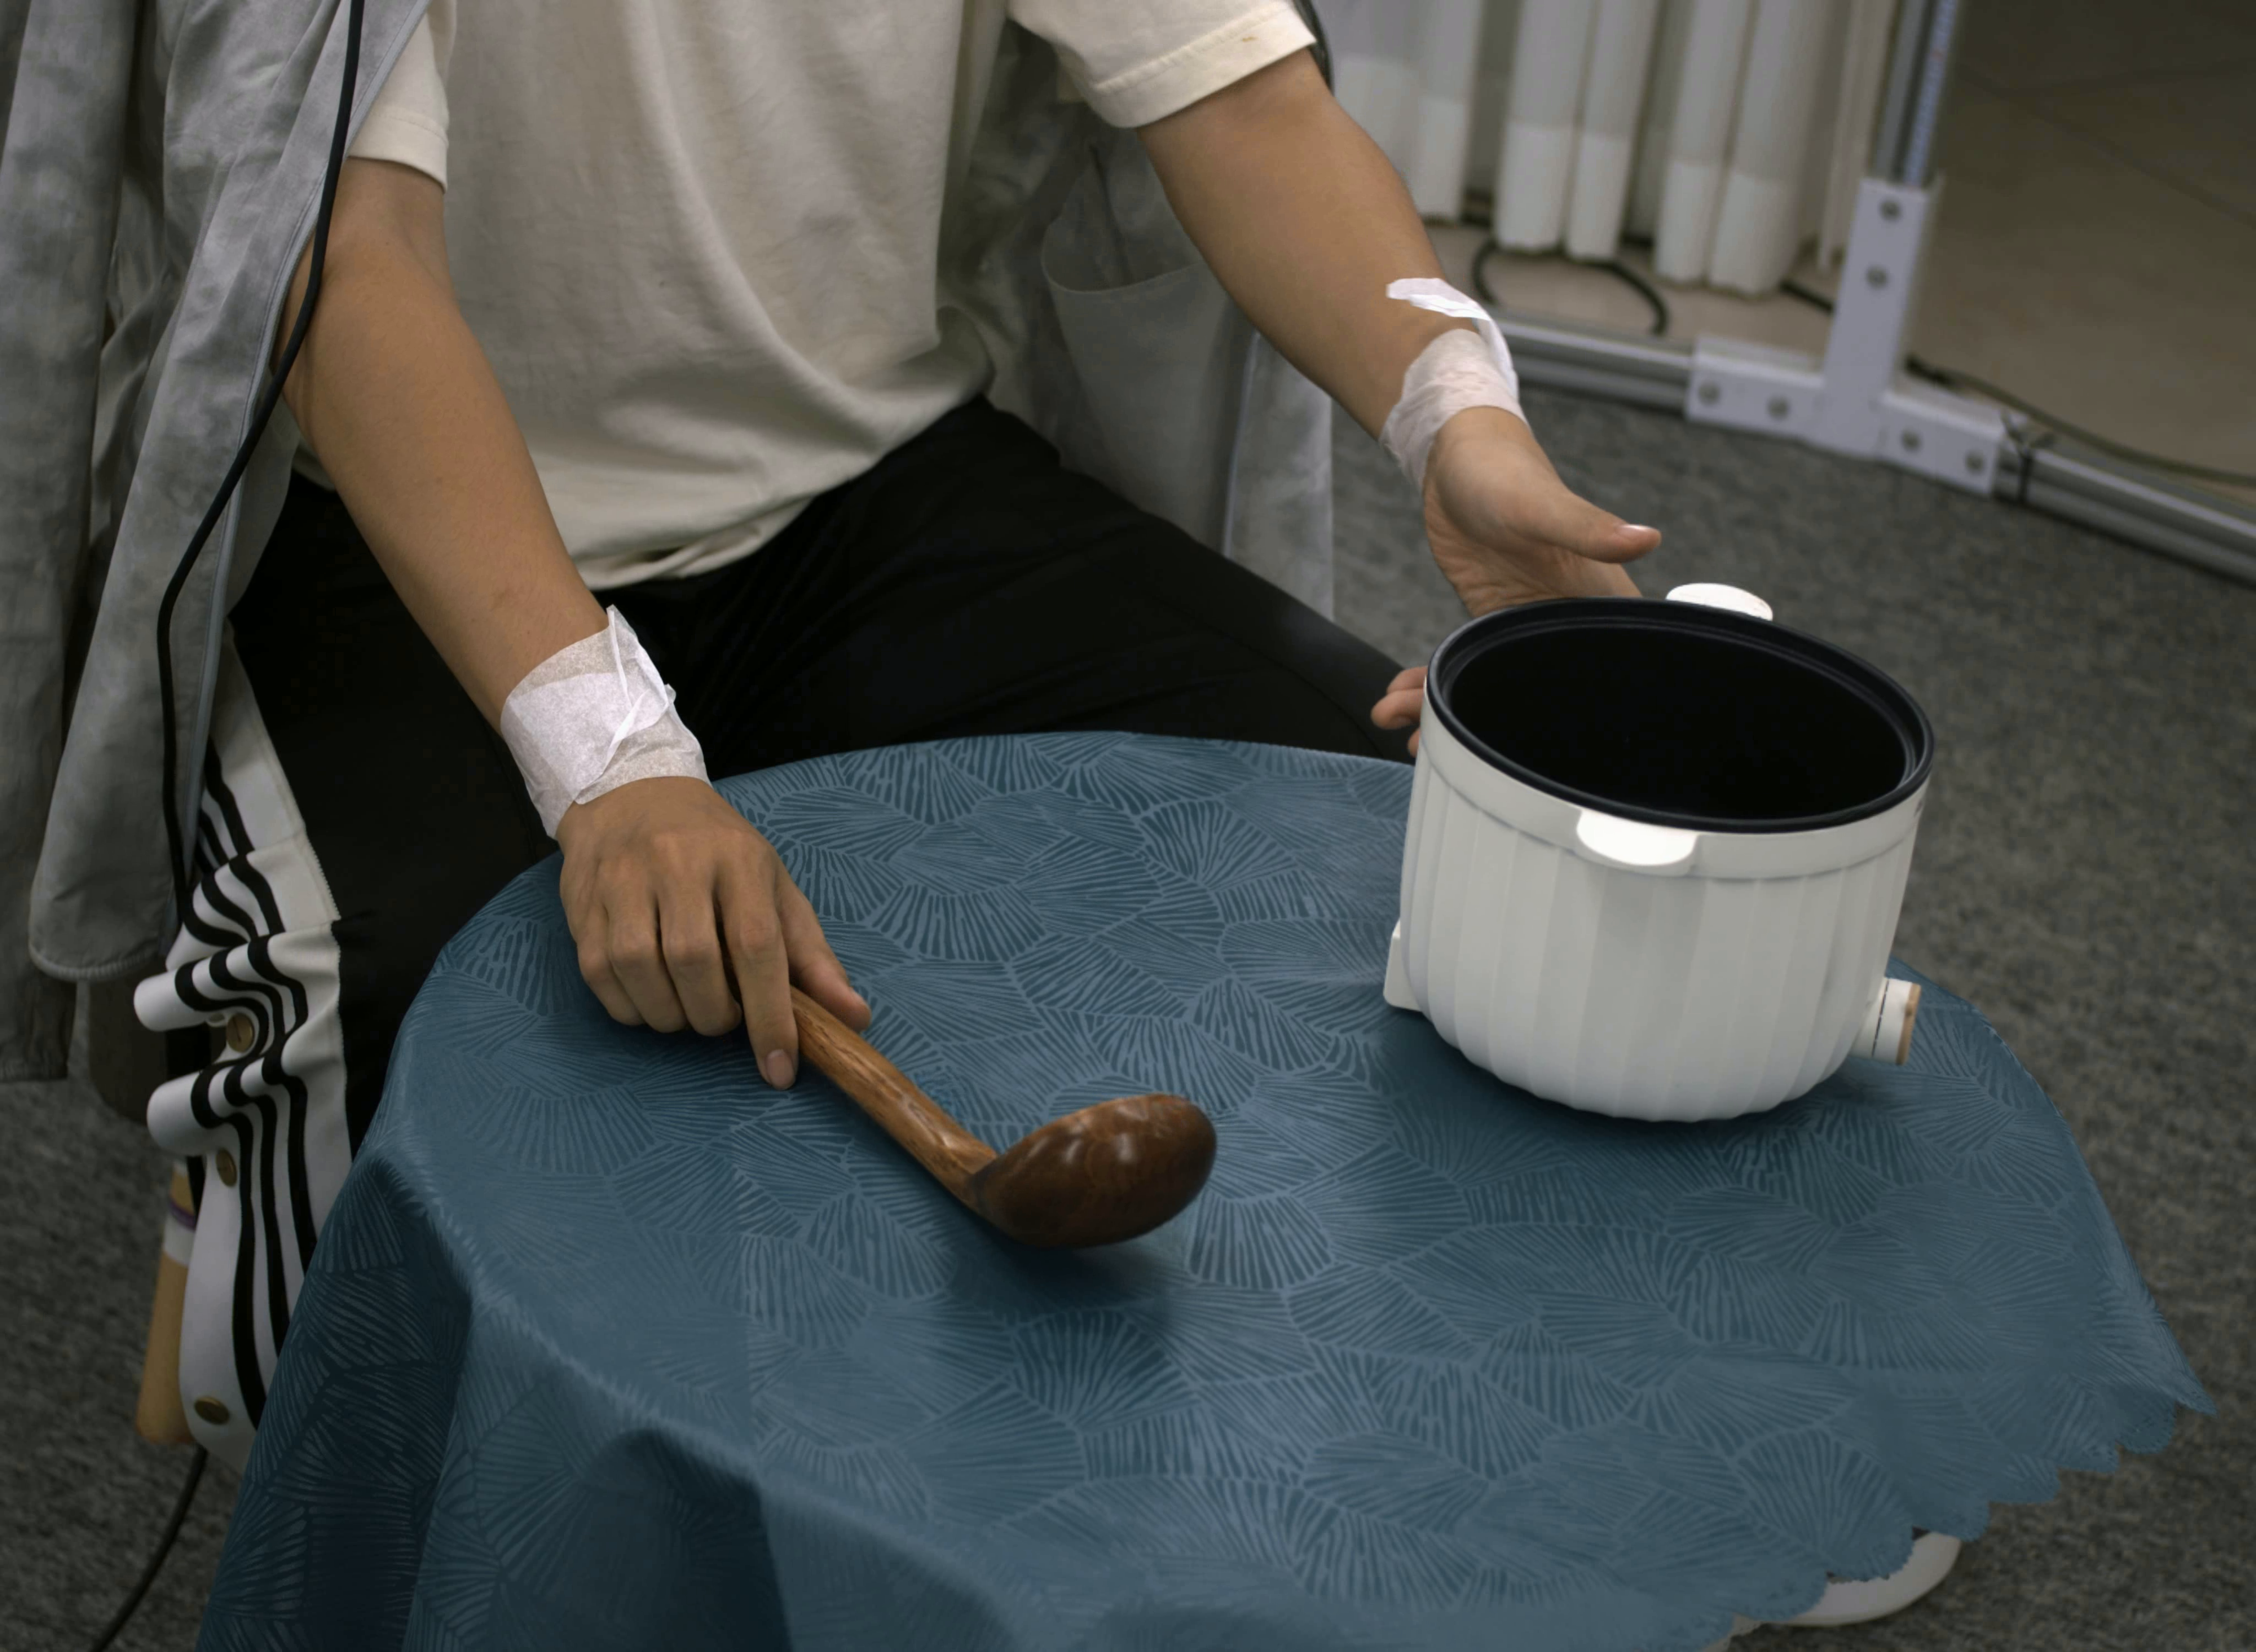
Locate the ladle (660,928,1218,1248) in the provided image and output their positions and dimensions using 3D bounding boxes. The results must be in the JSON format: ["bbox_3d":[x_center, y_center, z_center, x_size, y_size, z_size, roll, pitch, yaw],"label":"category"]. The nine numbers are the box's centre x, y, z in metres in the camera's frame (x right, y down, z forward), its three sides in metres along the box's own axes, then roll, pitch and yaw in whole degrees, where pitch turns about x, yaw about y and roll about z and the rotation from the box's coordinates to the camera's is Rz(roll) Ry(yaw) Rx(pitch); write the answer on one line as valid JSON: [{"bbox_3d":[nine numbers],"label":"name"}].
[{"bbox_3d":[-0.073,0.068,1.813,0.081,0.076,0.276,13,16,-43],"label":"ladle"}]

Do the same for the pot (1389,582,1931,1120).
[{"bbox_3d":[0.193,0.016,1.906,0.190,0.142,0.241,8,28,11],"label":"pot"}]
